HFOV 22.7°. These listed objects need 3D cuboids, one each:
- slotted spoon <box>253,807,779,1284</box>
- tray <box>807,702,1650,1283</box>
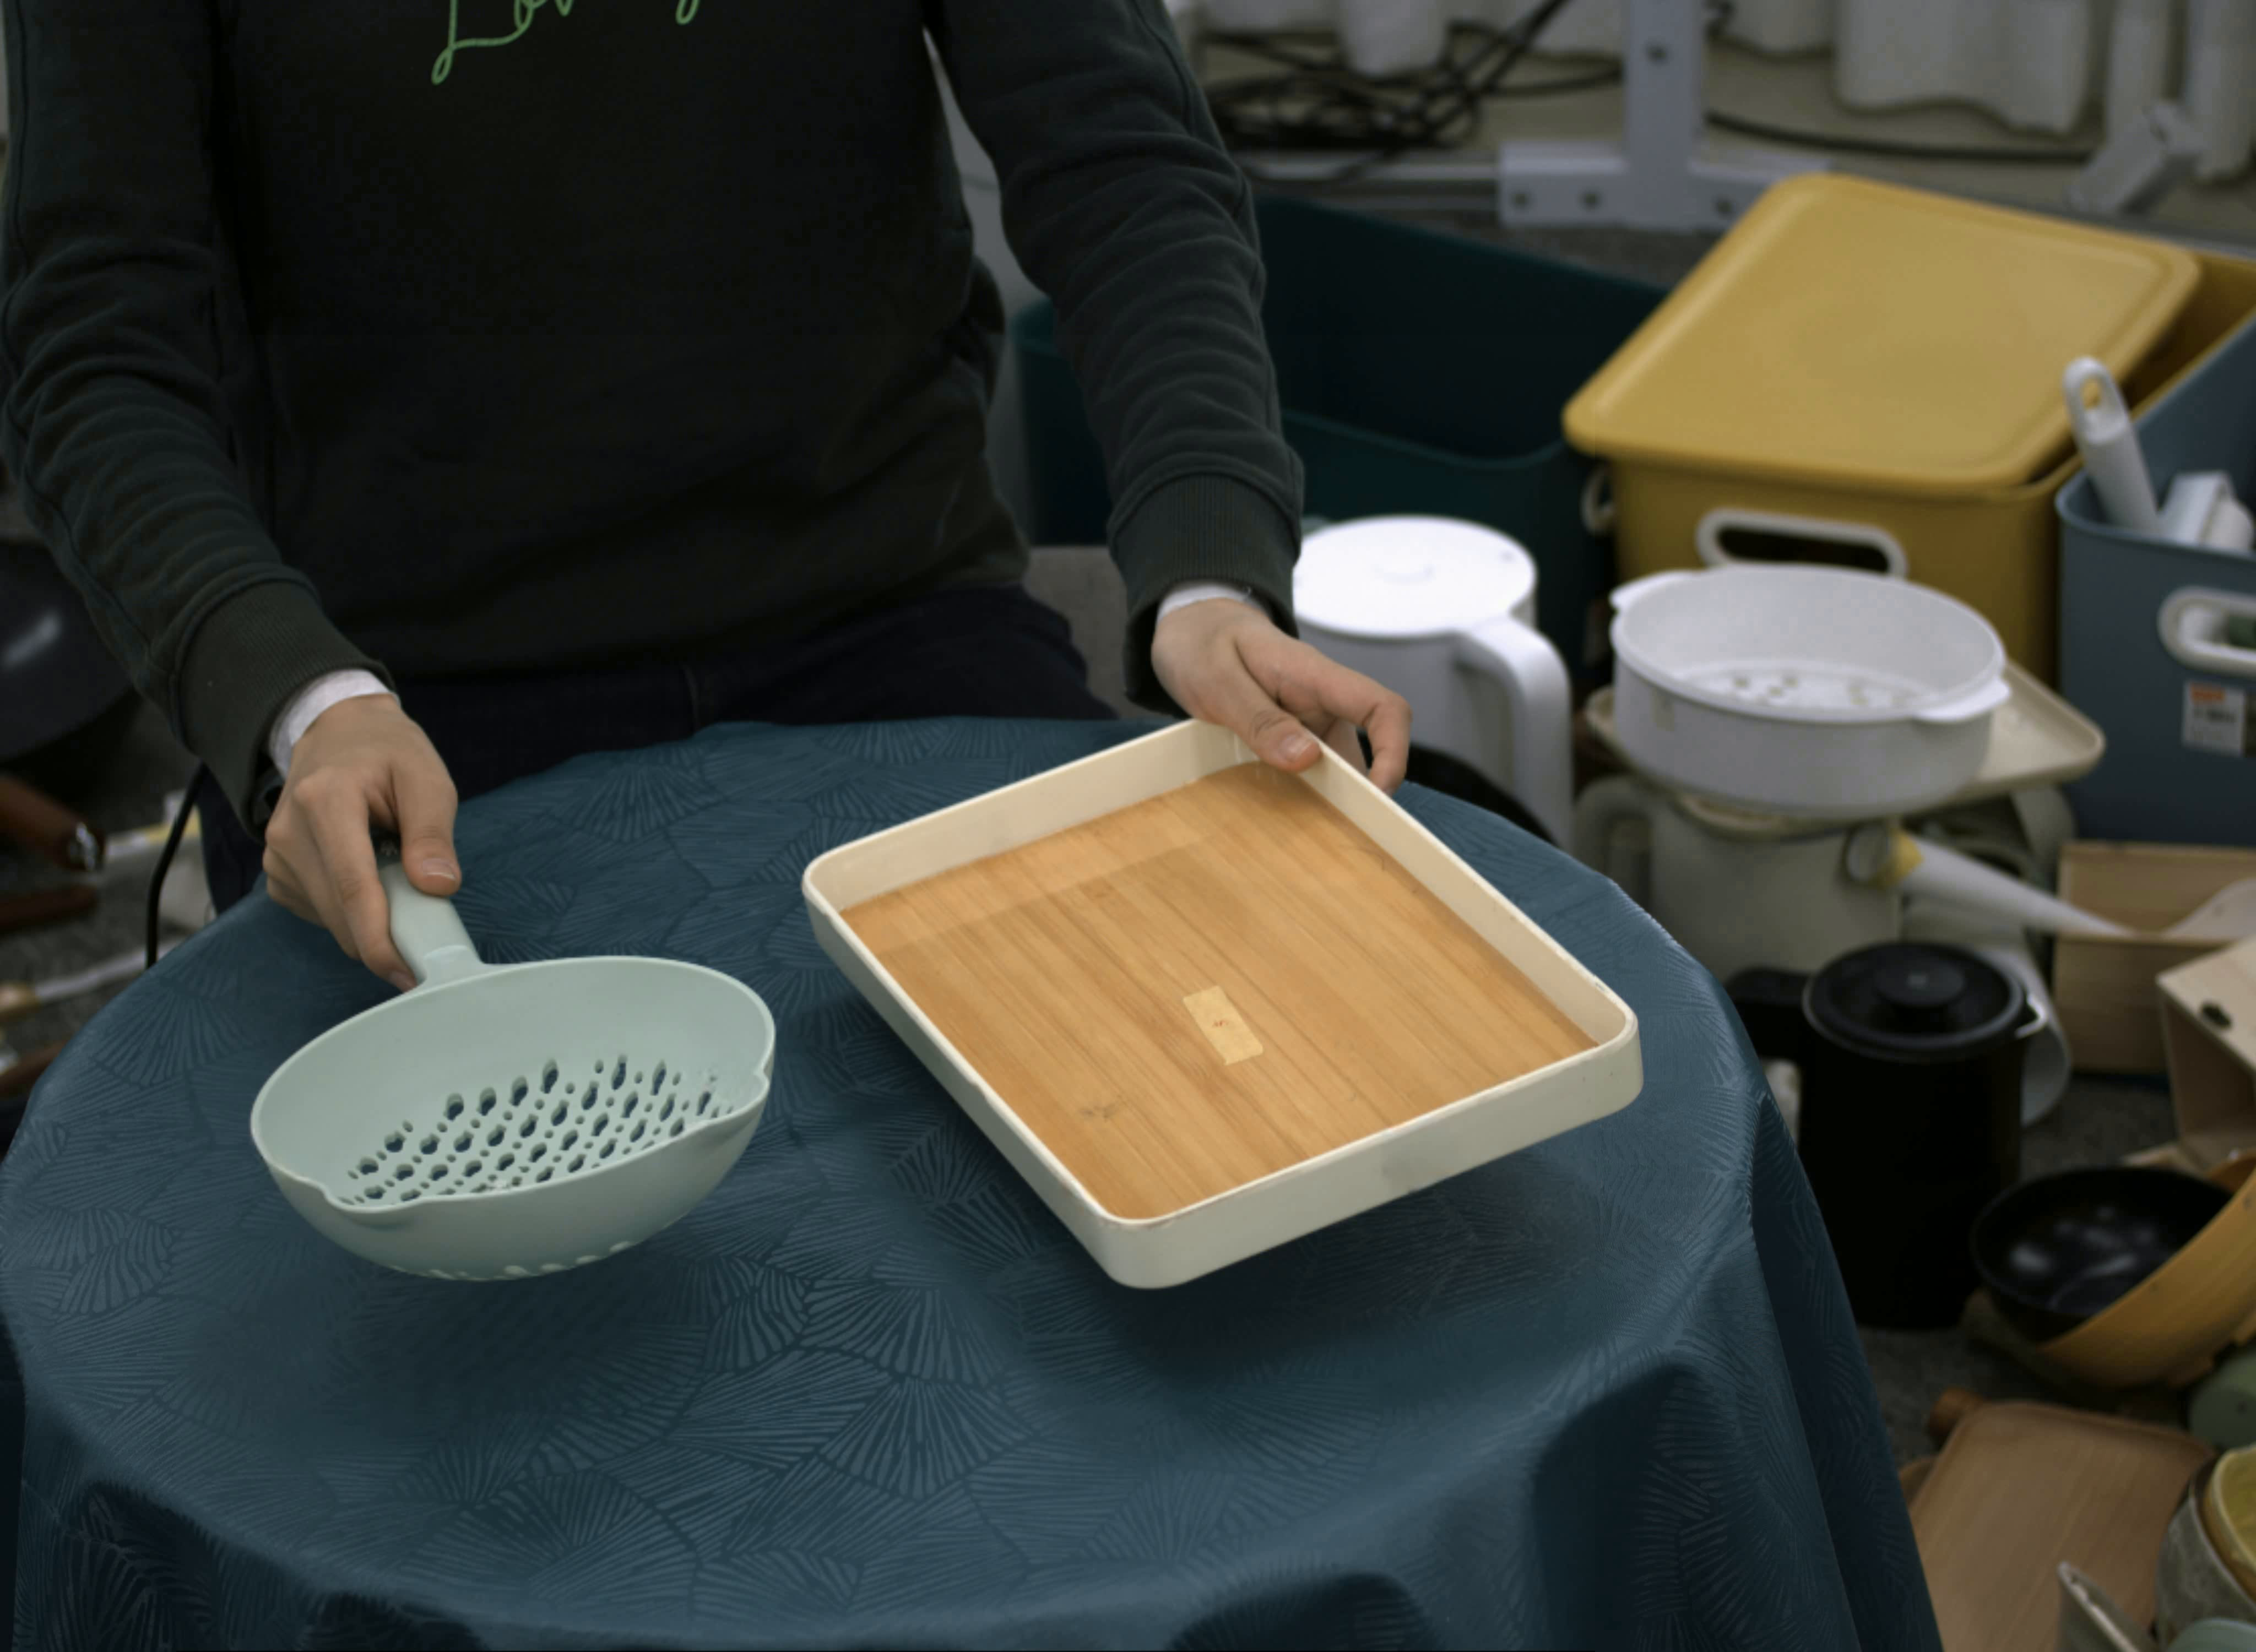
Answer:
[{"bbox_3d":[-0.221,0.057,1.870,0.169,0.074,0.362,-13,31,-14],"label":"slotted spoon"},{"bbox_3d":[0.027,0.050,1.876,0.192,0.027,0.302,-19,29,-16],"label":"tray"}]
